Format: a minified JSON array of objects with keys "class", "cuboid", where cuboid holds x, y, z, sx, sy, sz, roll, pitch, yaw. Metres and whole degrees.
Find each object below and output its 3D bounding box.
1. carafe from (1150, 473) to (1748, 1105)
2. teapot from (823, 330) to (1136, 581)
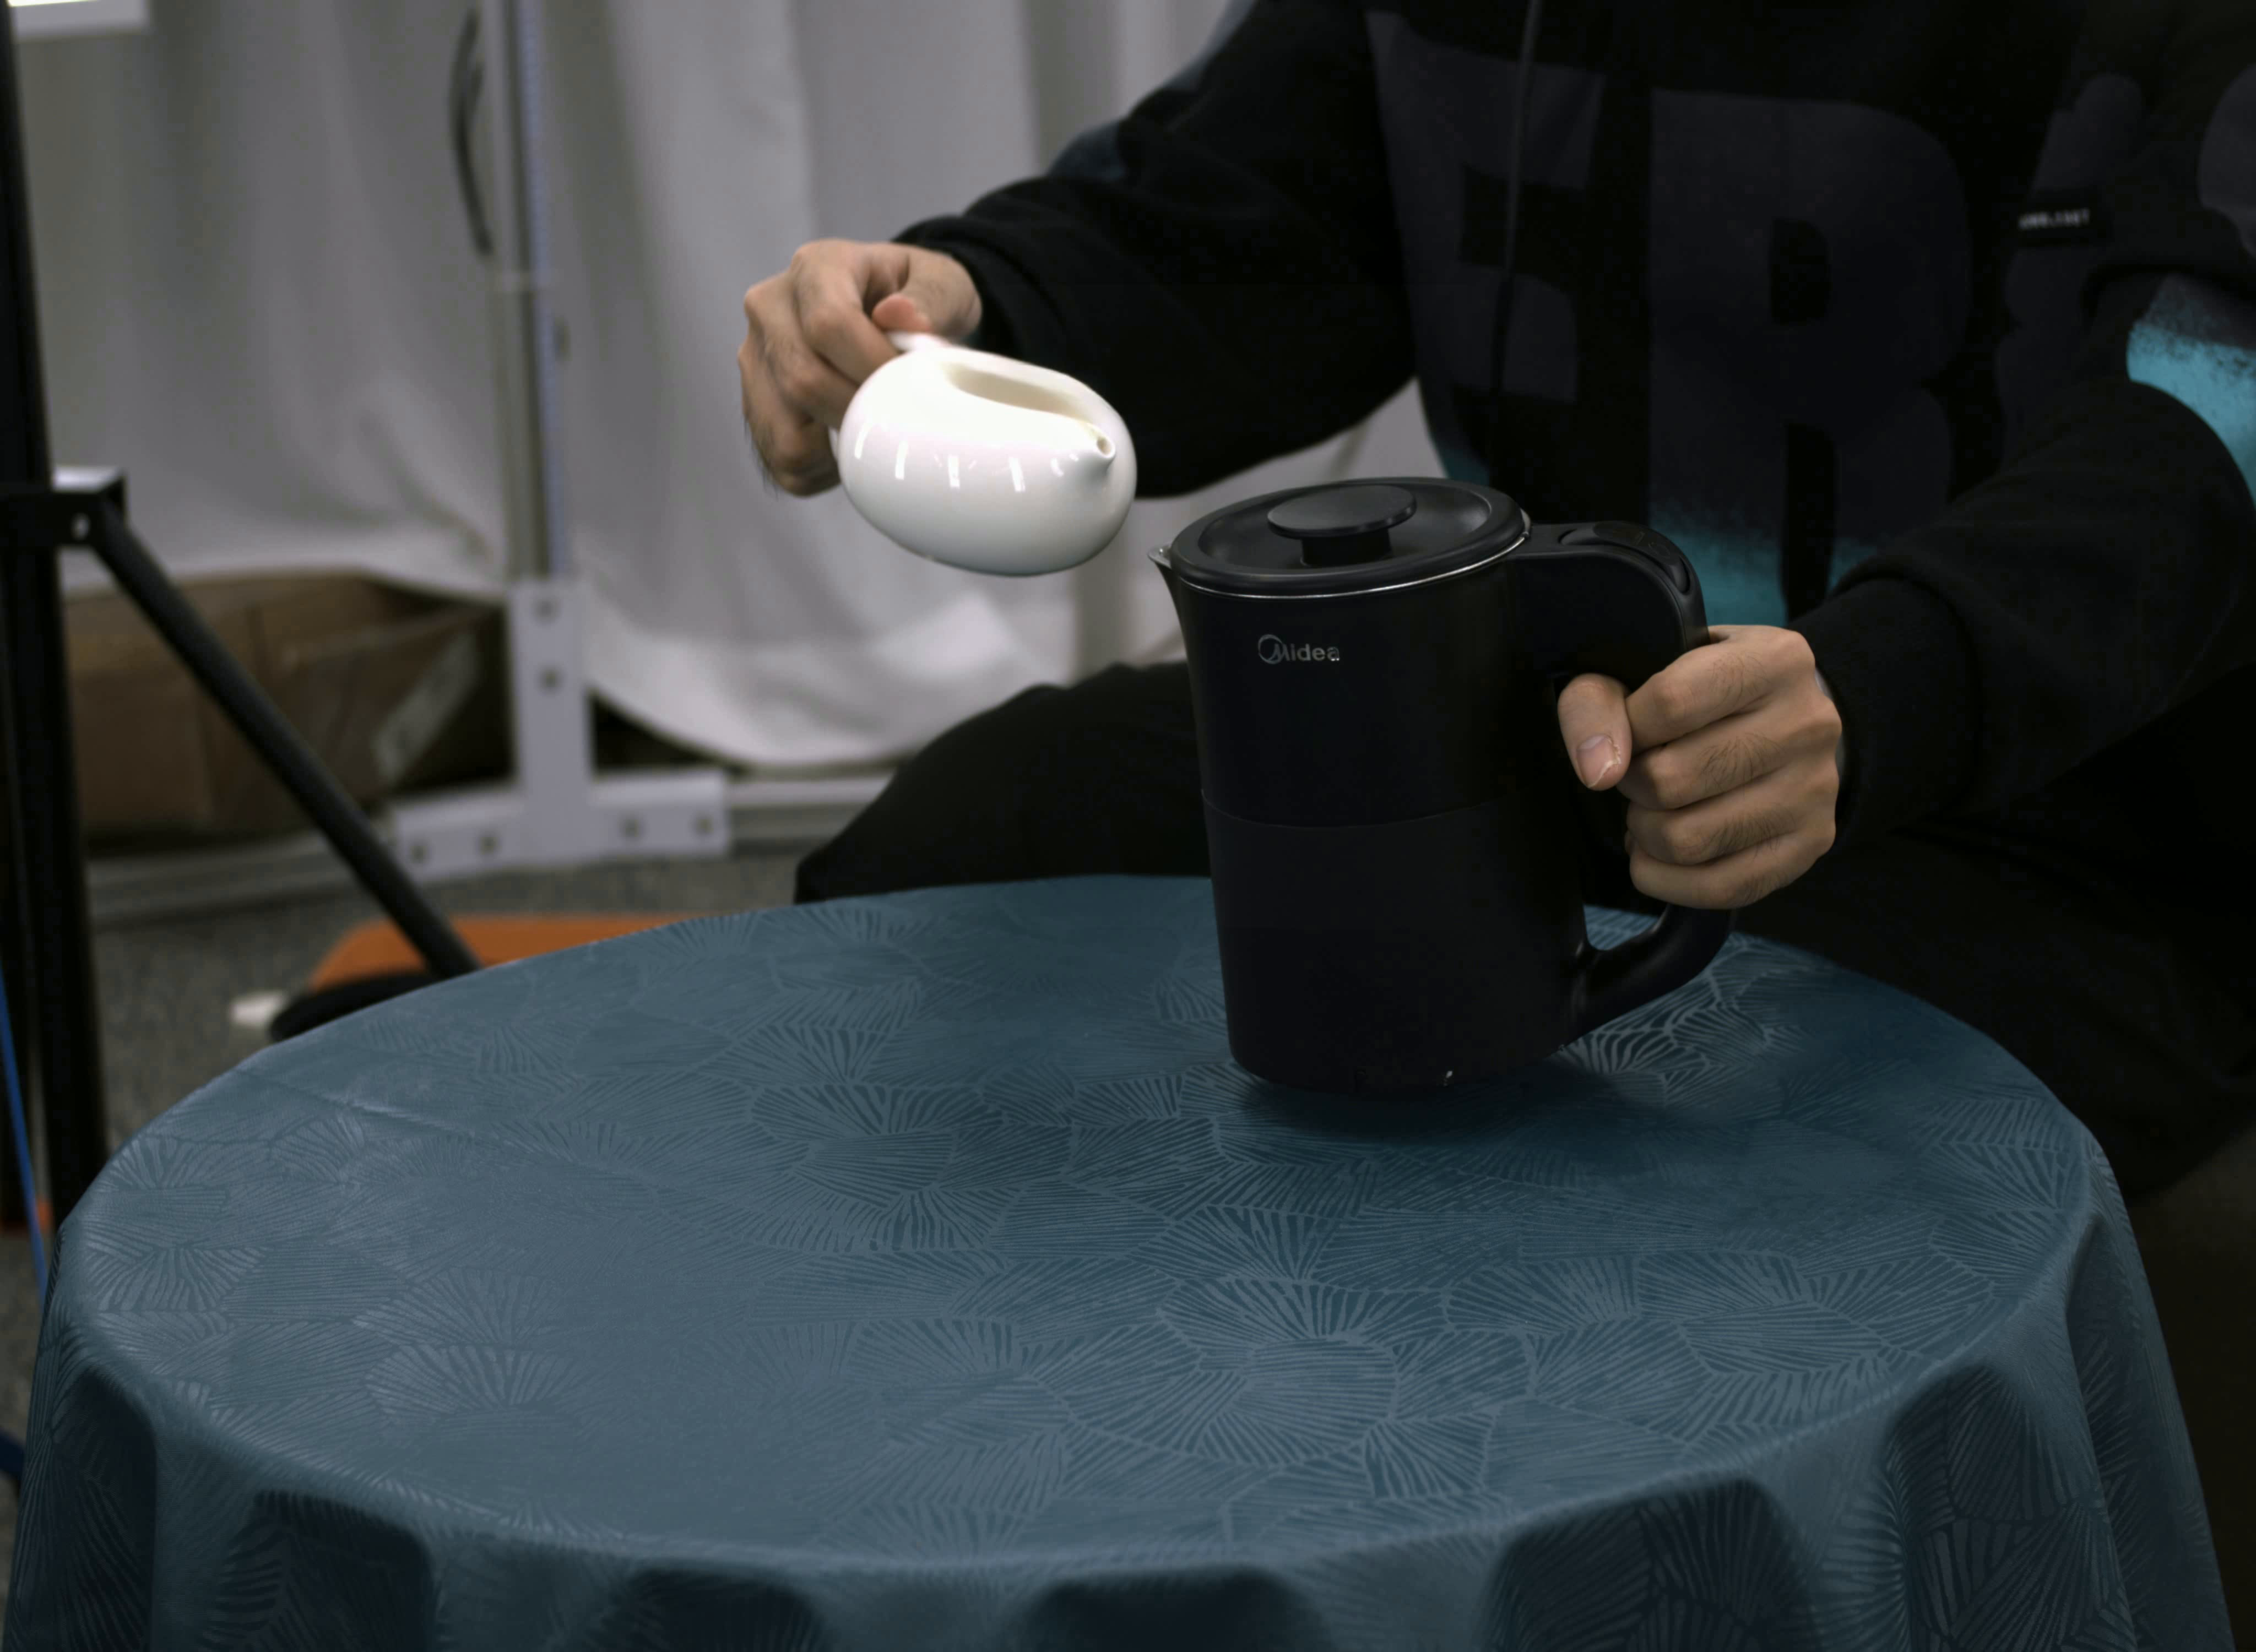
[{"class":"carafe","cuboid":[0.097,-0.018,1.598,0.173,0.173,0.113,-3,16,20]},{"class":"teapot","cuboid":[-0.052,-0.115,1.659,0.130,0.057,0.091,27,26,38]}]
